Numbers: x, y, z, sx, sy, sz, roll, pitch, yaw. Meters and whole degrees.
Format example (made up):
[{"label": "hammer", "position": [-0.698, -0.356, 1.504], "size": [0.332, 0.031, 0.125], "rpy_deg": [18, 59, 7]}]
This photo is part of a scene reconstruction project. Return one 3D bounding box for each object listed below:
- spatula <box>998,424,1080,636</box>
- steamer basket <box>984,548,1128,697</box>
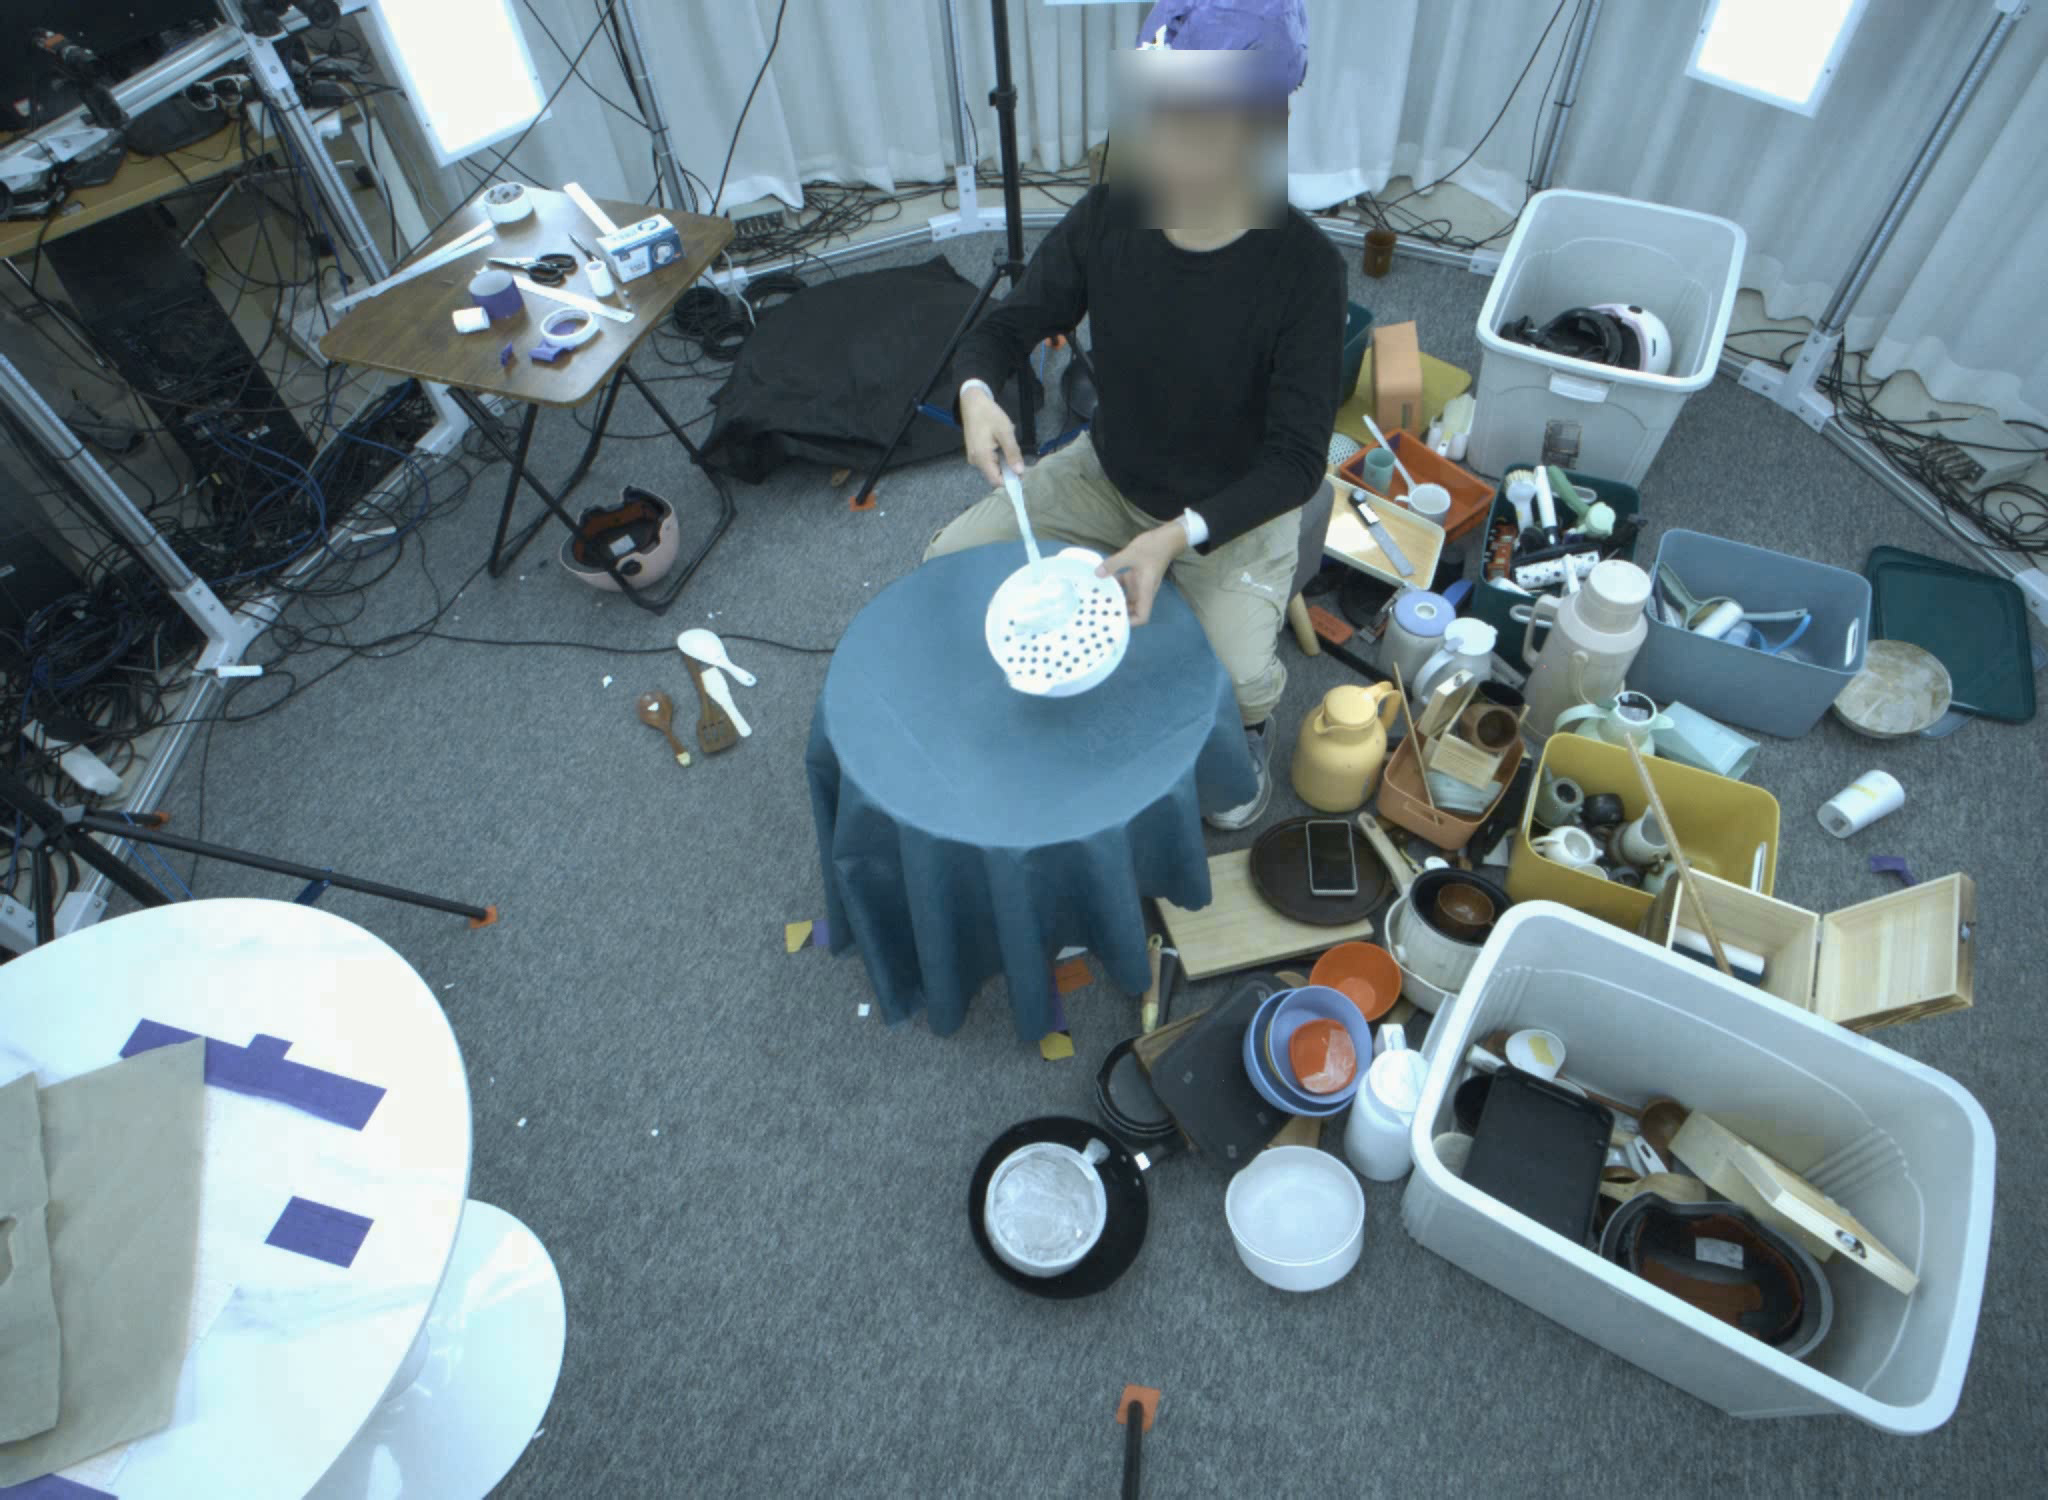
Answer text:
[{"label": "spatula", "position": [0.000, -0.318, 1.702], "size": [0.098, 0.045, 0.361], "rpy_deg": [-20, 70, 16]}, {"label": "steamer basket", "position": [0.047, -0.172, 1.733], "size": [0.199, 0.070, 0.230], "rpy_deg": [18, 73, 18]}]
